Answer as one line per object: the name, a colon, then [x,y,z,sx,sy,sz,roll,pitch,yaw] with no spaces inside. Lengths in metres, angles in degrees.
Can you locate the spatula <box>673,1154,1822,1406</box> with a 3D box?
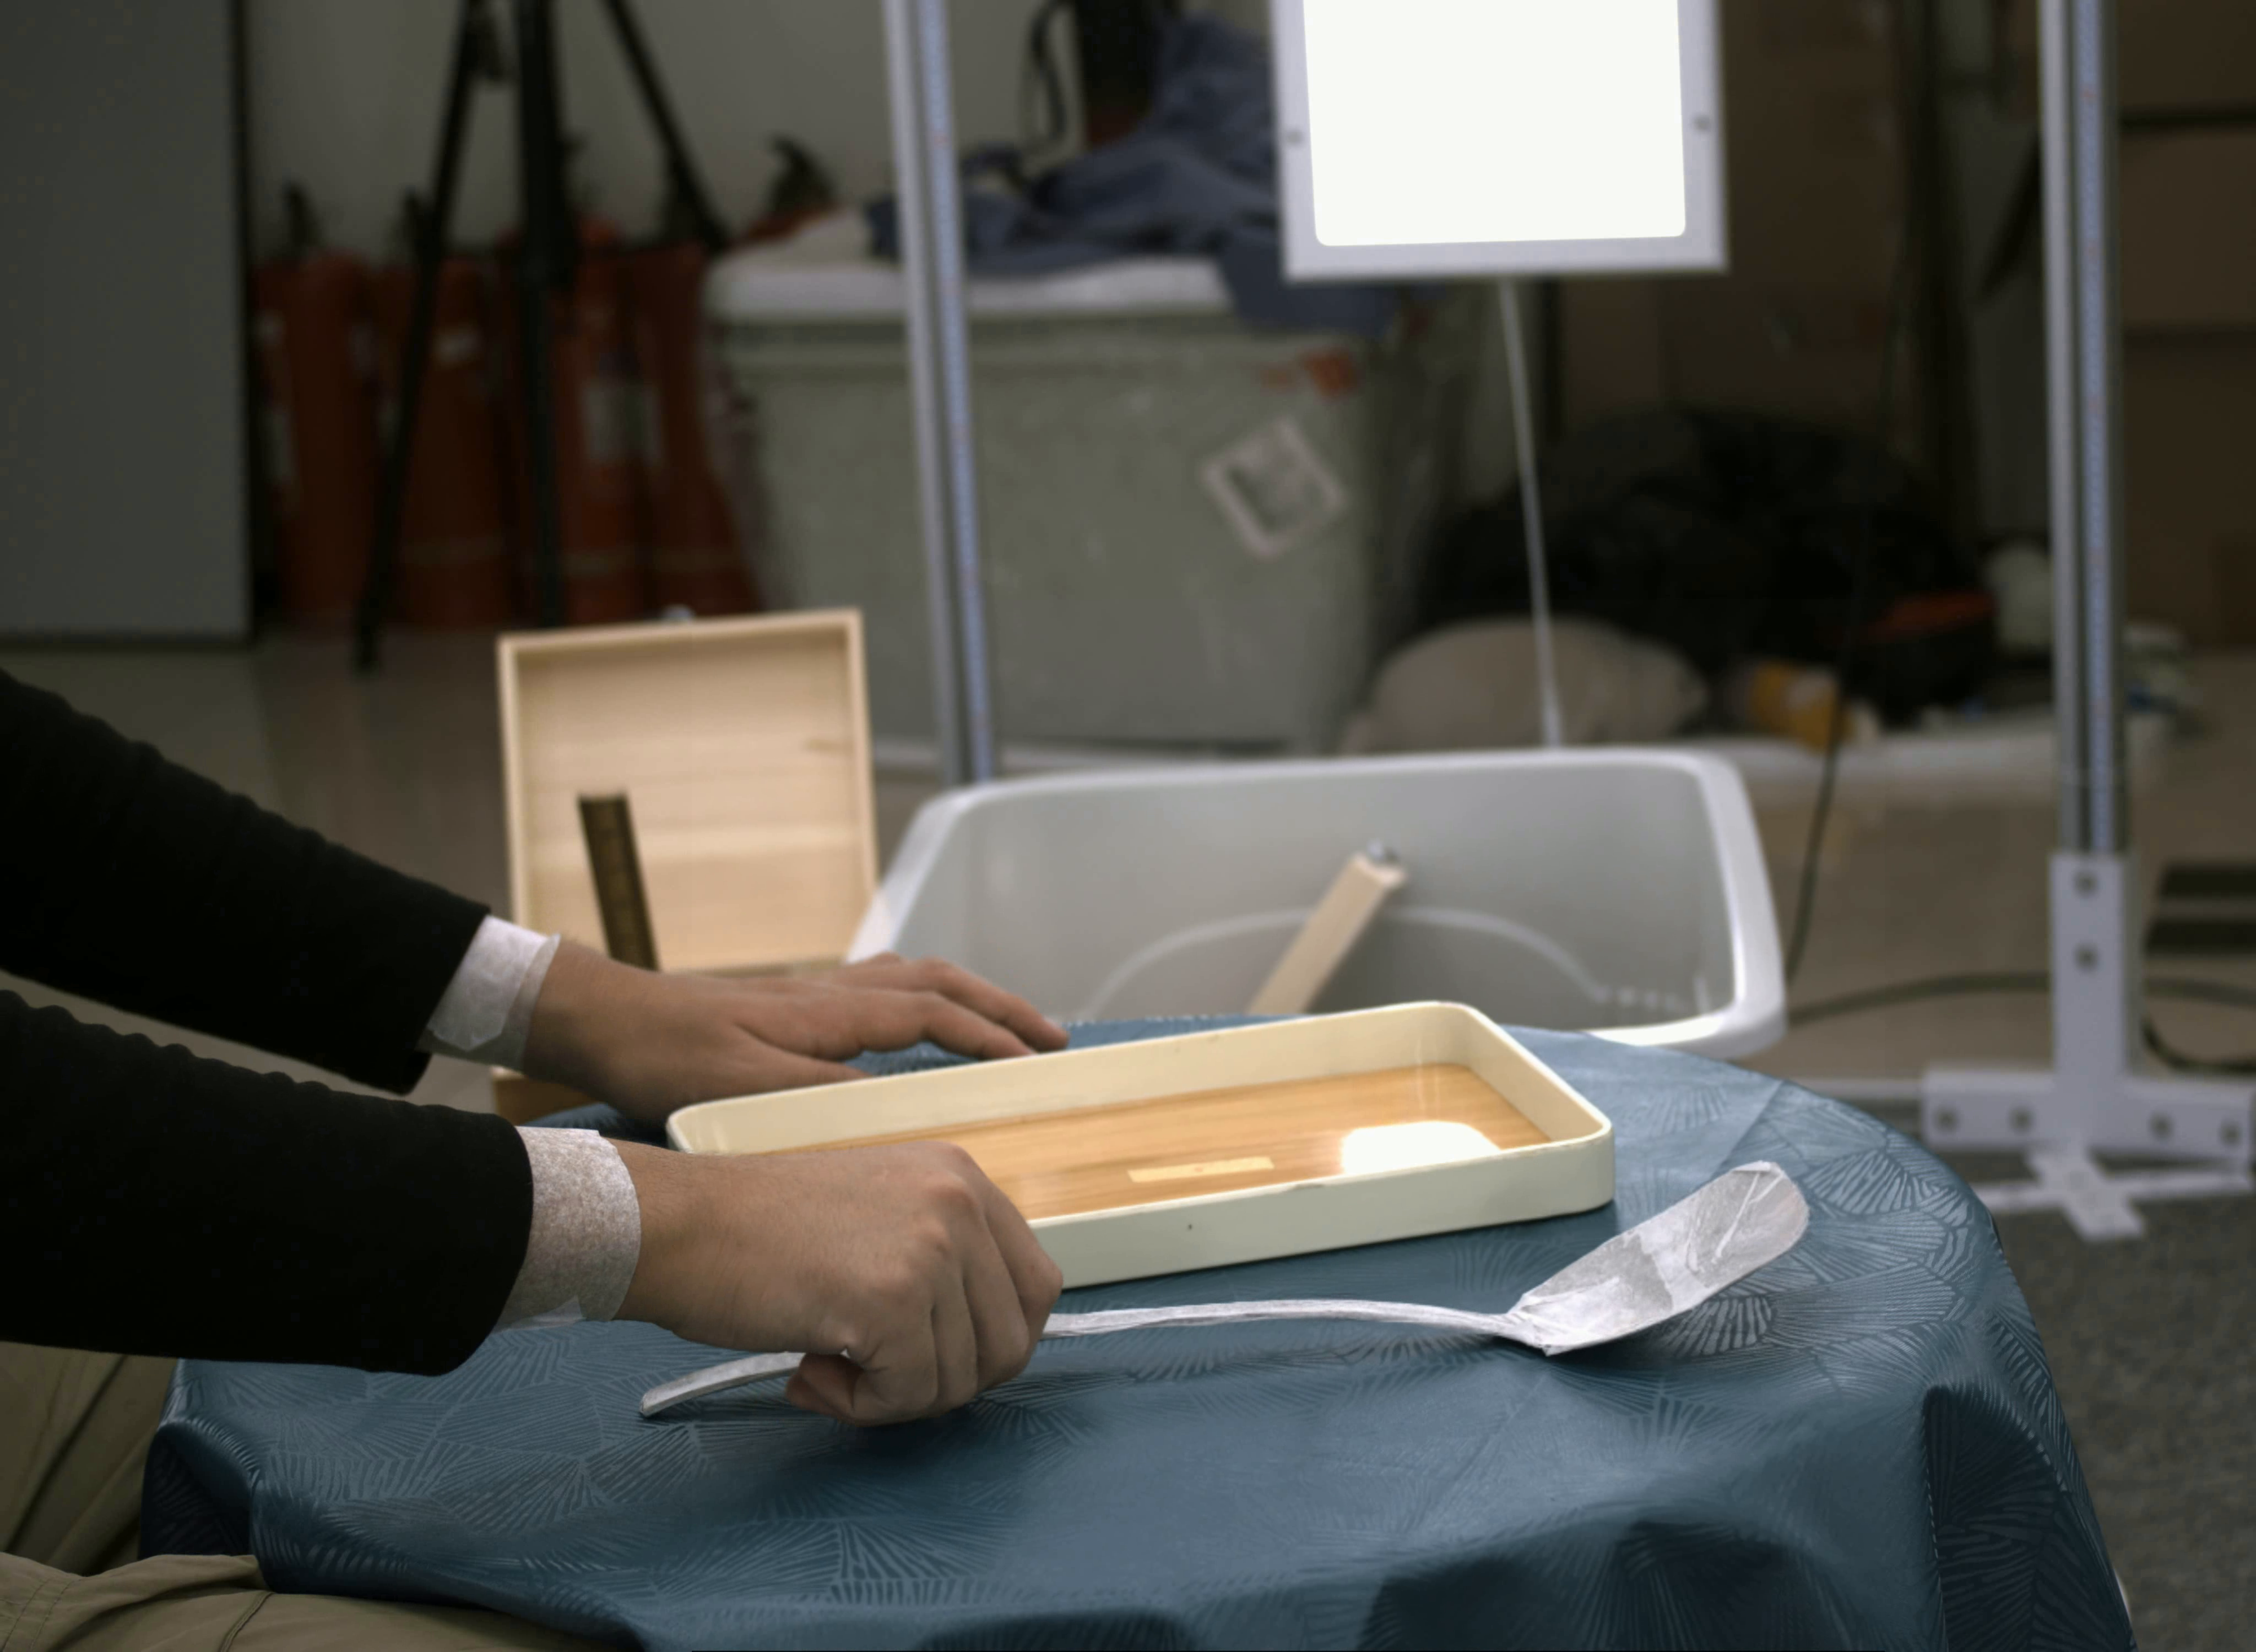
spatula: [0.036,0.148,1.718,0.364,0.045,0.098,-5,13,1]

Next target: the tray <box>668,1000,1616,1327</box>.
tray: [0.001,0.114,1.893,0.297,0.027,0.193,-8,14,-10]
